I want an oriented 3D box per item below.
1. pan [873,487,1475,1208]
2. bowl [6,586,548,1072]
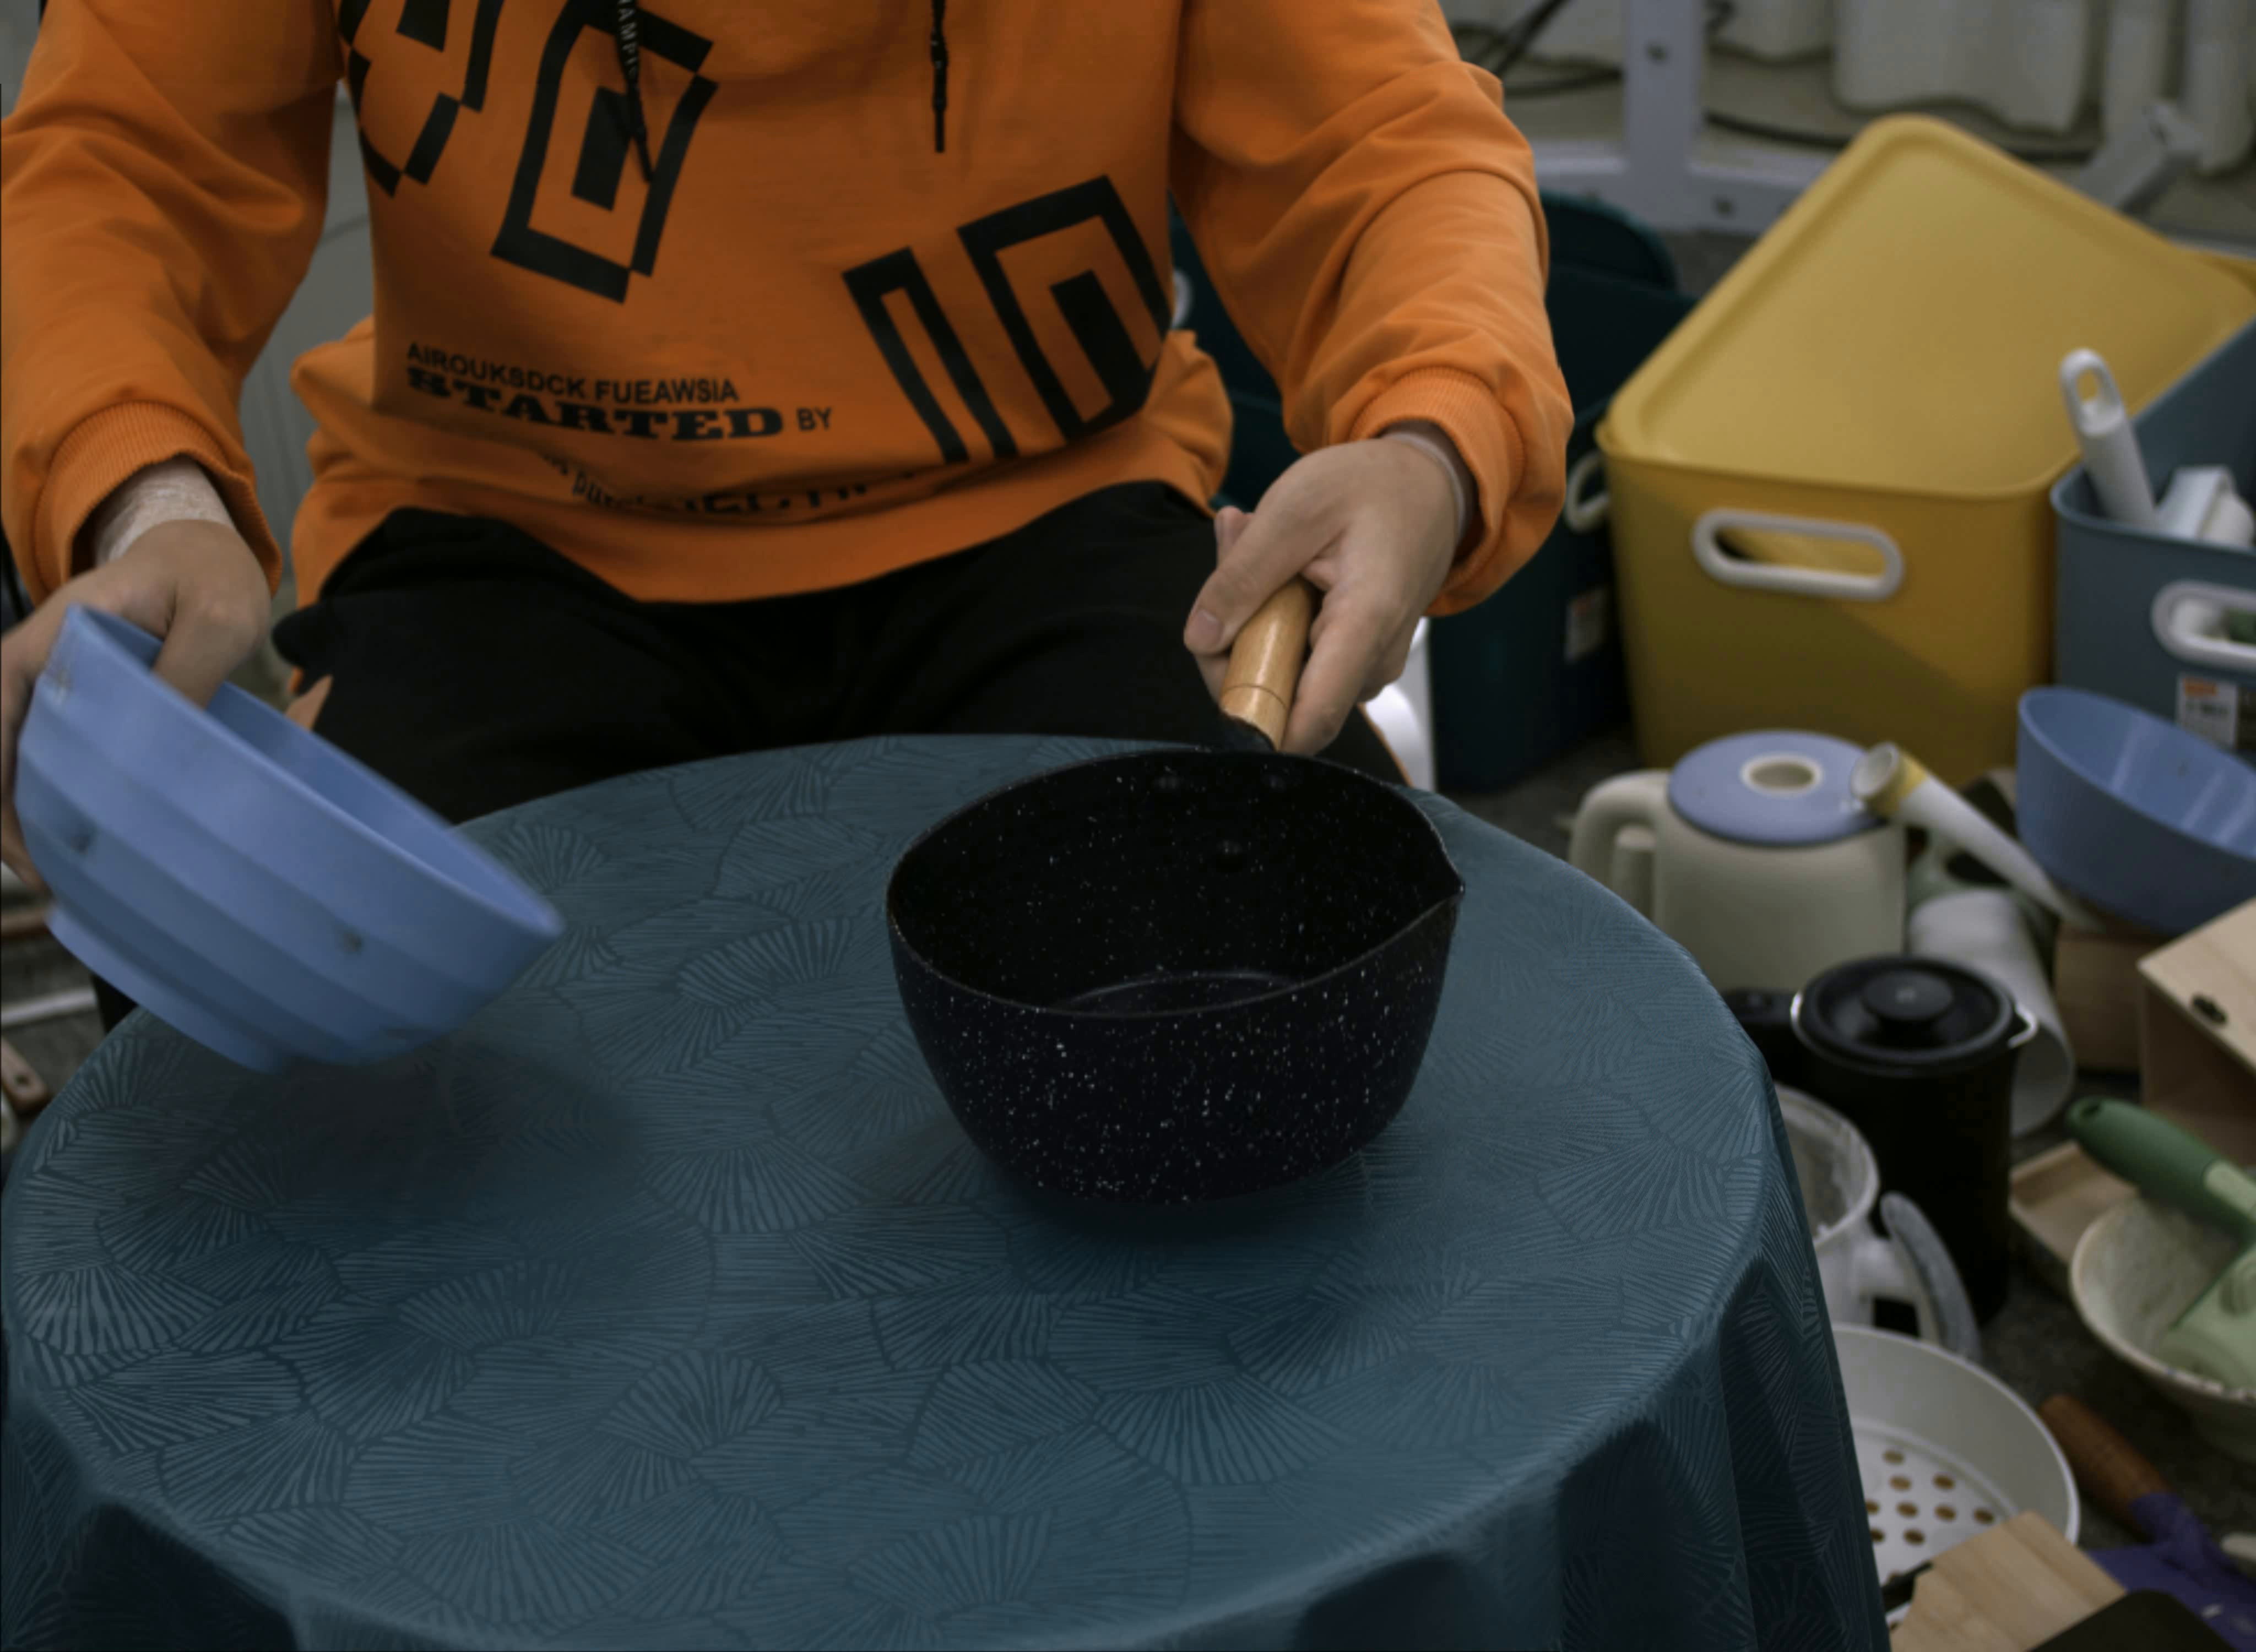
[{"bbox_3d":[0.031,0.004,1.929,0.206,0.107,0.349,-1,28,13],"label":"pan"},{"bbox_3d":[-0.298,0.017,1.864,0.096,0.195,0.197,-52,40,-2],"label":"bowl"}]
